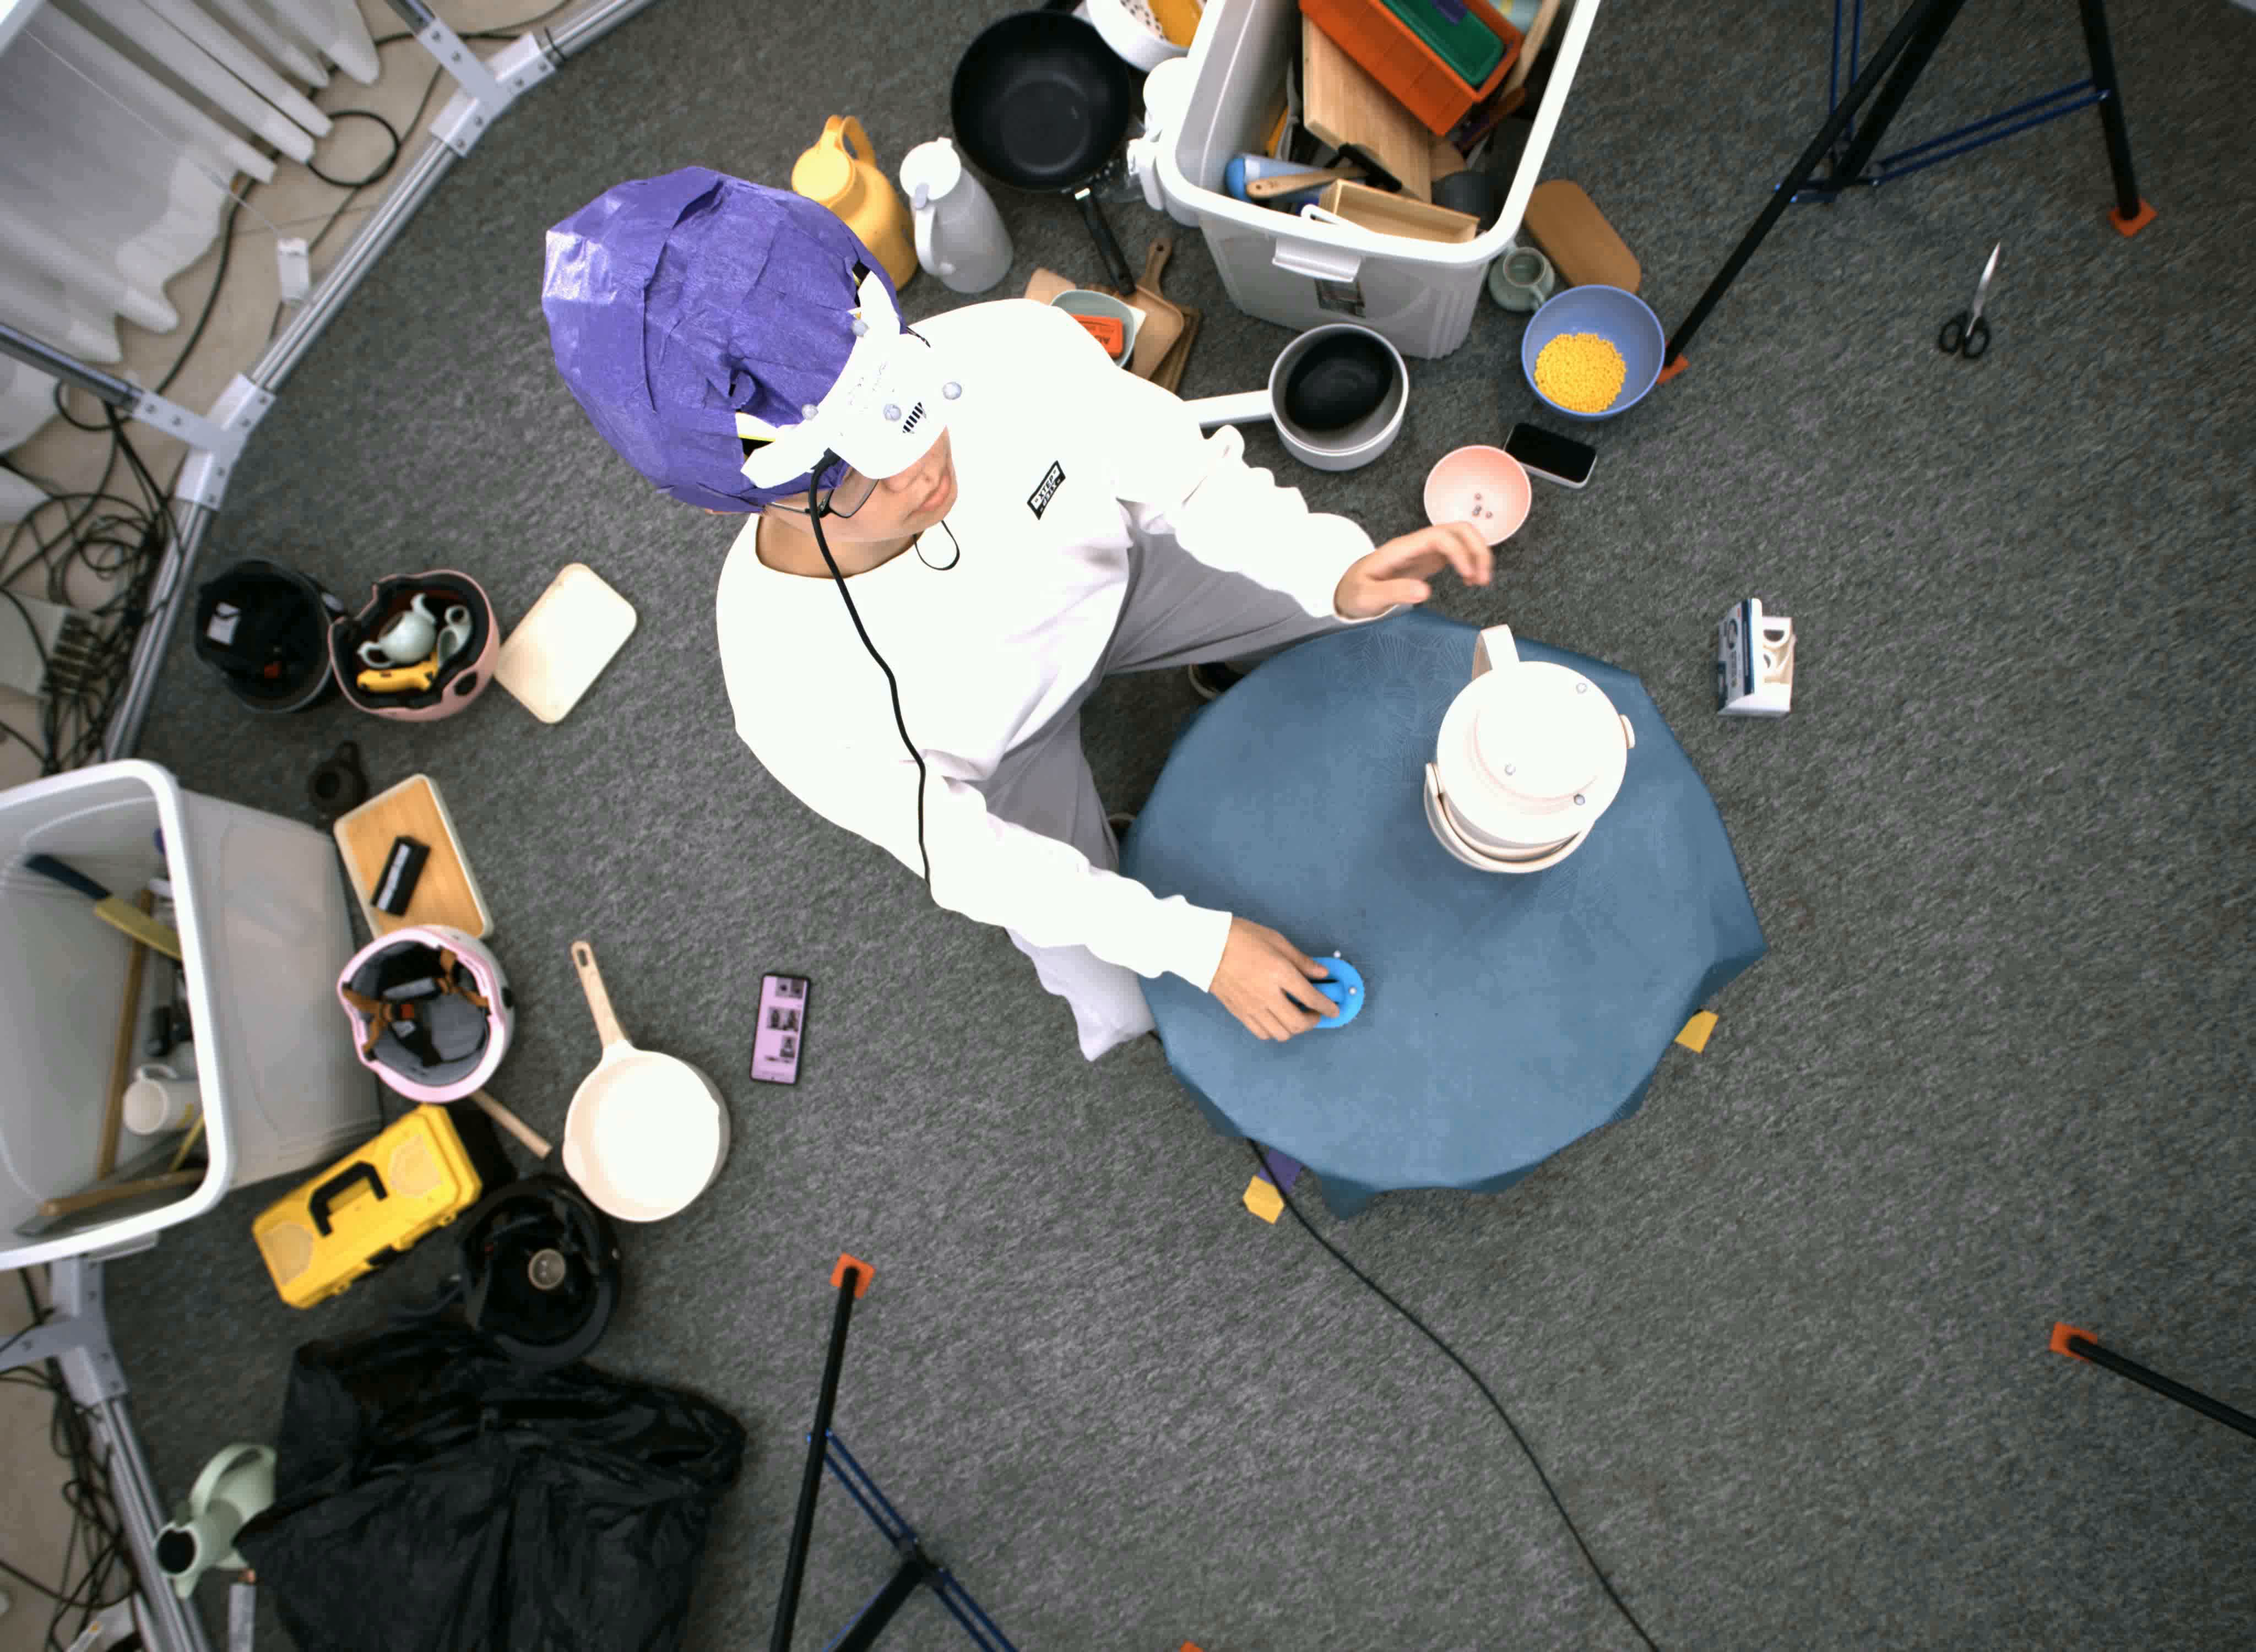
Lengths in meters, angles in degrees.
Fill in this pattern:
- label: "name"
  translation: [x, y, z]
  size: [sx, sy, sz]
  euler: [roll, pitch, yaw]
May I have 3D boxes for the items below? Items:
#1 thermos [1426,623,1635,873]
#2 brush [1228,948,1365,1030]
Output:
- label: "thermos"
  translation: [0.355, -0.068, 1.250]
  size: [0.176, 0.407, 0.205]
  euler: [-15, 82, 10]
- label: "brush"
  translation: [0.174, 0.168, 1.437]
  size: [0.142, 0.063, 0.084]
  euler: [0, 90, 11]
